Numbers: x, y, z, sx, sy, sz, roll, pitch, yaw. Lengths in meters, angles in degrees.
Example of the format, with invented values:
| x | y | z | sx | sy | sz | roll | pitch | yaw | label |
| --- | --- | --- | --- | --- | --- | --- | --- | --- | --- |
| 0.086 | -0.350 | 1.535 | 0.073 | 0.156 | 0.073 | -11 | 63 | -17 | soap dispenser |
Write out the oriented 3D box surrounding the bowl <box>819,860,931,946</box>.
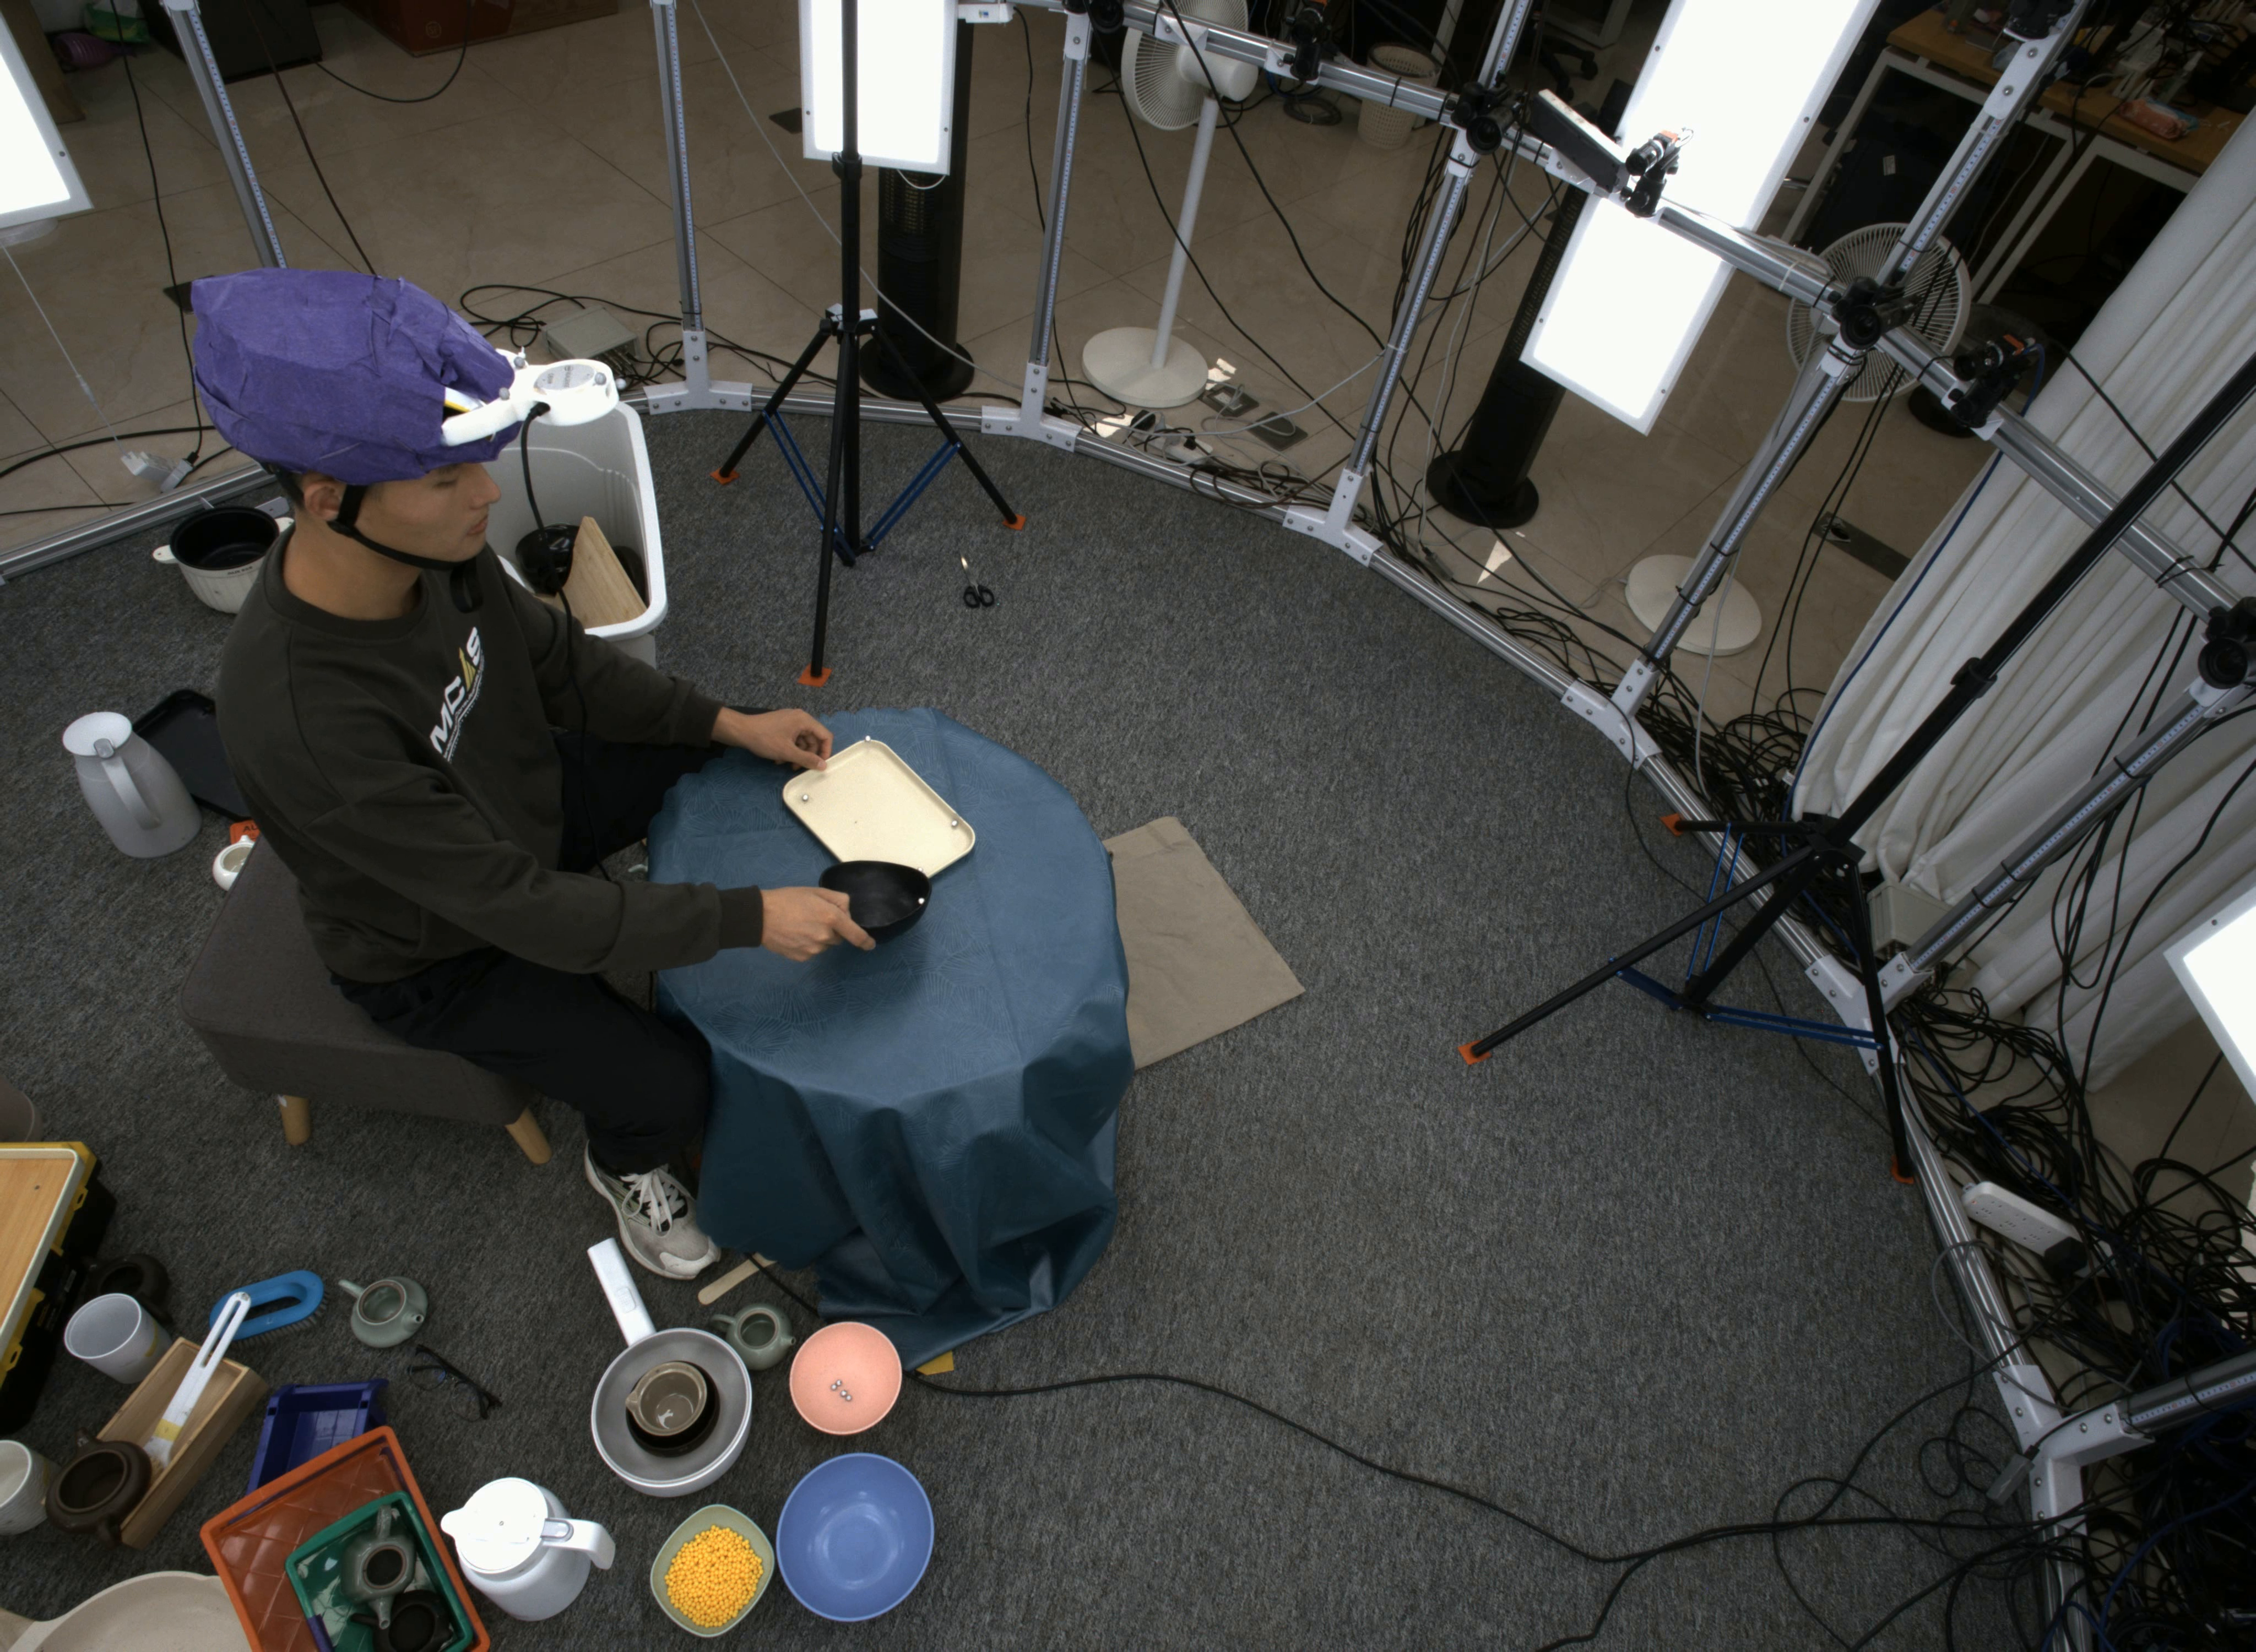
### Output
| x | y | z | sx | sy | sz | roll | pitch | yaw | label |
| --- | --- | --- | --- | --- | --- | --- | --- | --- | --- |
| -0.314 | 0.102 | 1.610 | 0.137 | 0.068 | 0.166 | 4 | 25 | -9 | bowl |

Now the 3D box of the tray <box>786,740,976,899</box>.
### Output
| x | y | z | sx | sy | sz | roll | pitch | yaw | label |
| --- | --- | --- | --- | --- | --- | --- | --- | --- | --- |
| -0.333 | -0.011 | 1.754 | 0.234 | 0.018 | 0.171 | 43 | 57 | 19 | tray |
